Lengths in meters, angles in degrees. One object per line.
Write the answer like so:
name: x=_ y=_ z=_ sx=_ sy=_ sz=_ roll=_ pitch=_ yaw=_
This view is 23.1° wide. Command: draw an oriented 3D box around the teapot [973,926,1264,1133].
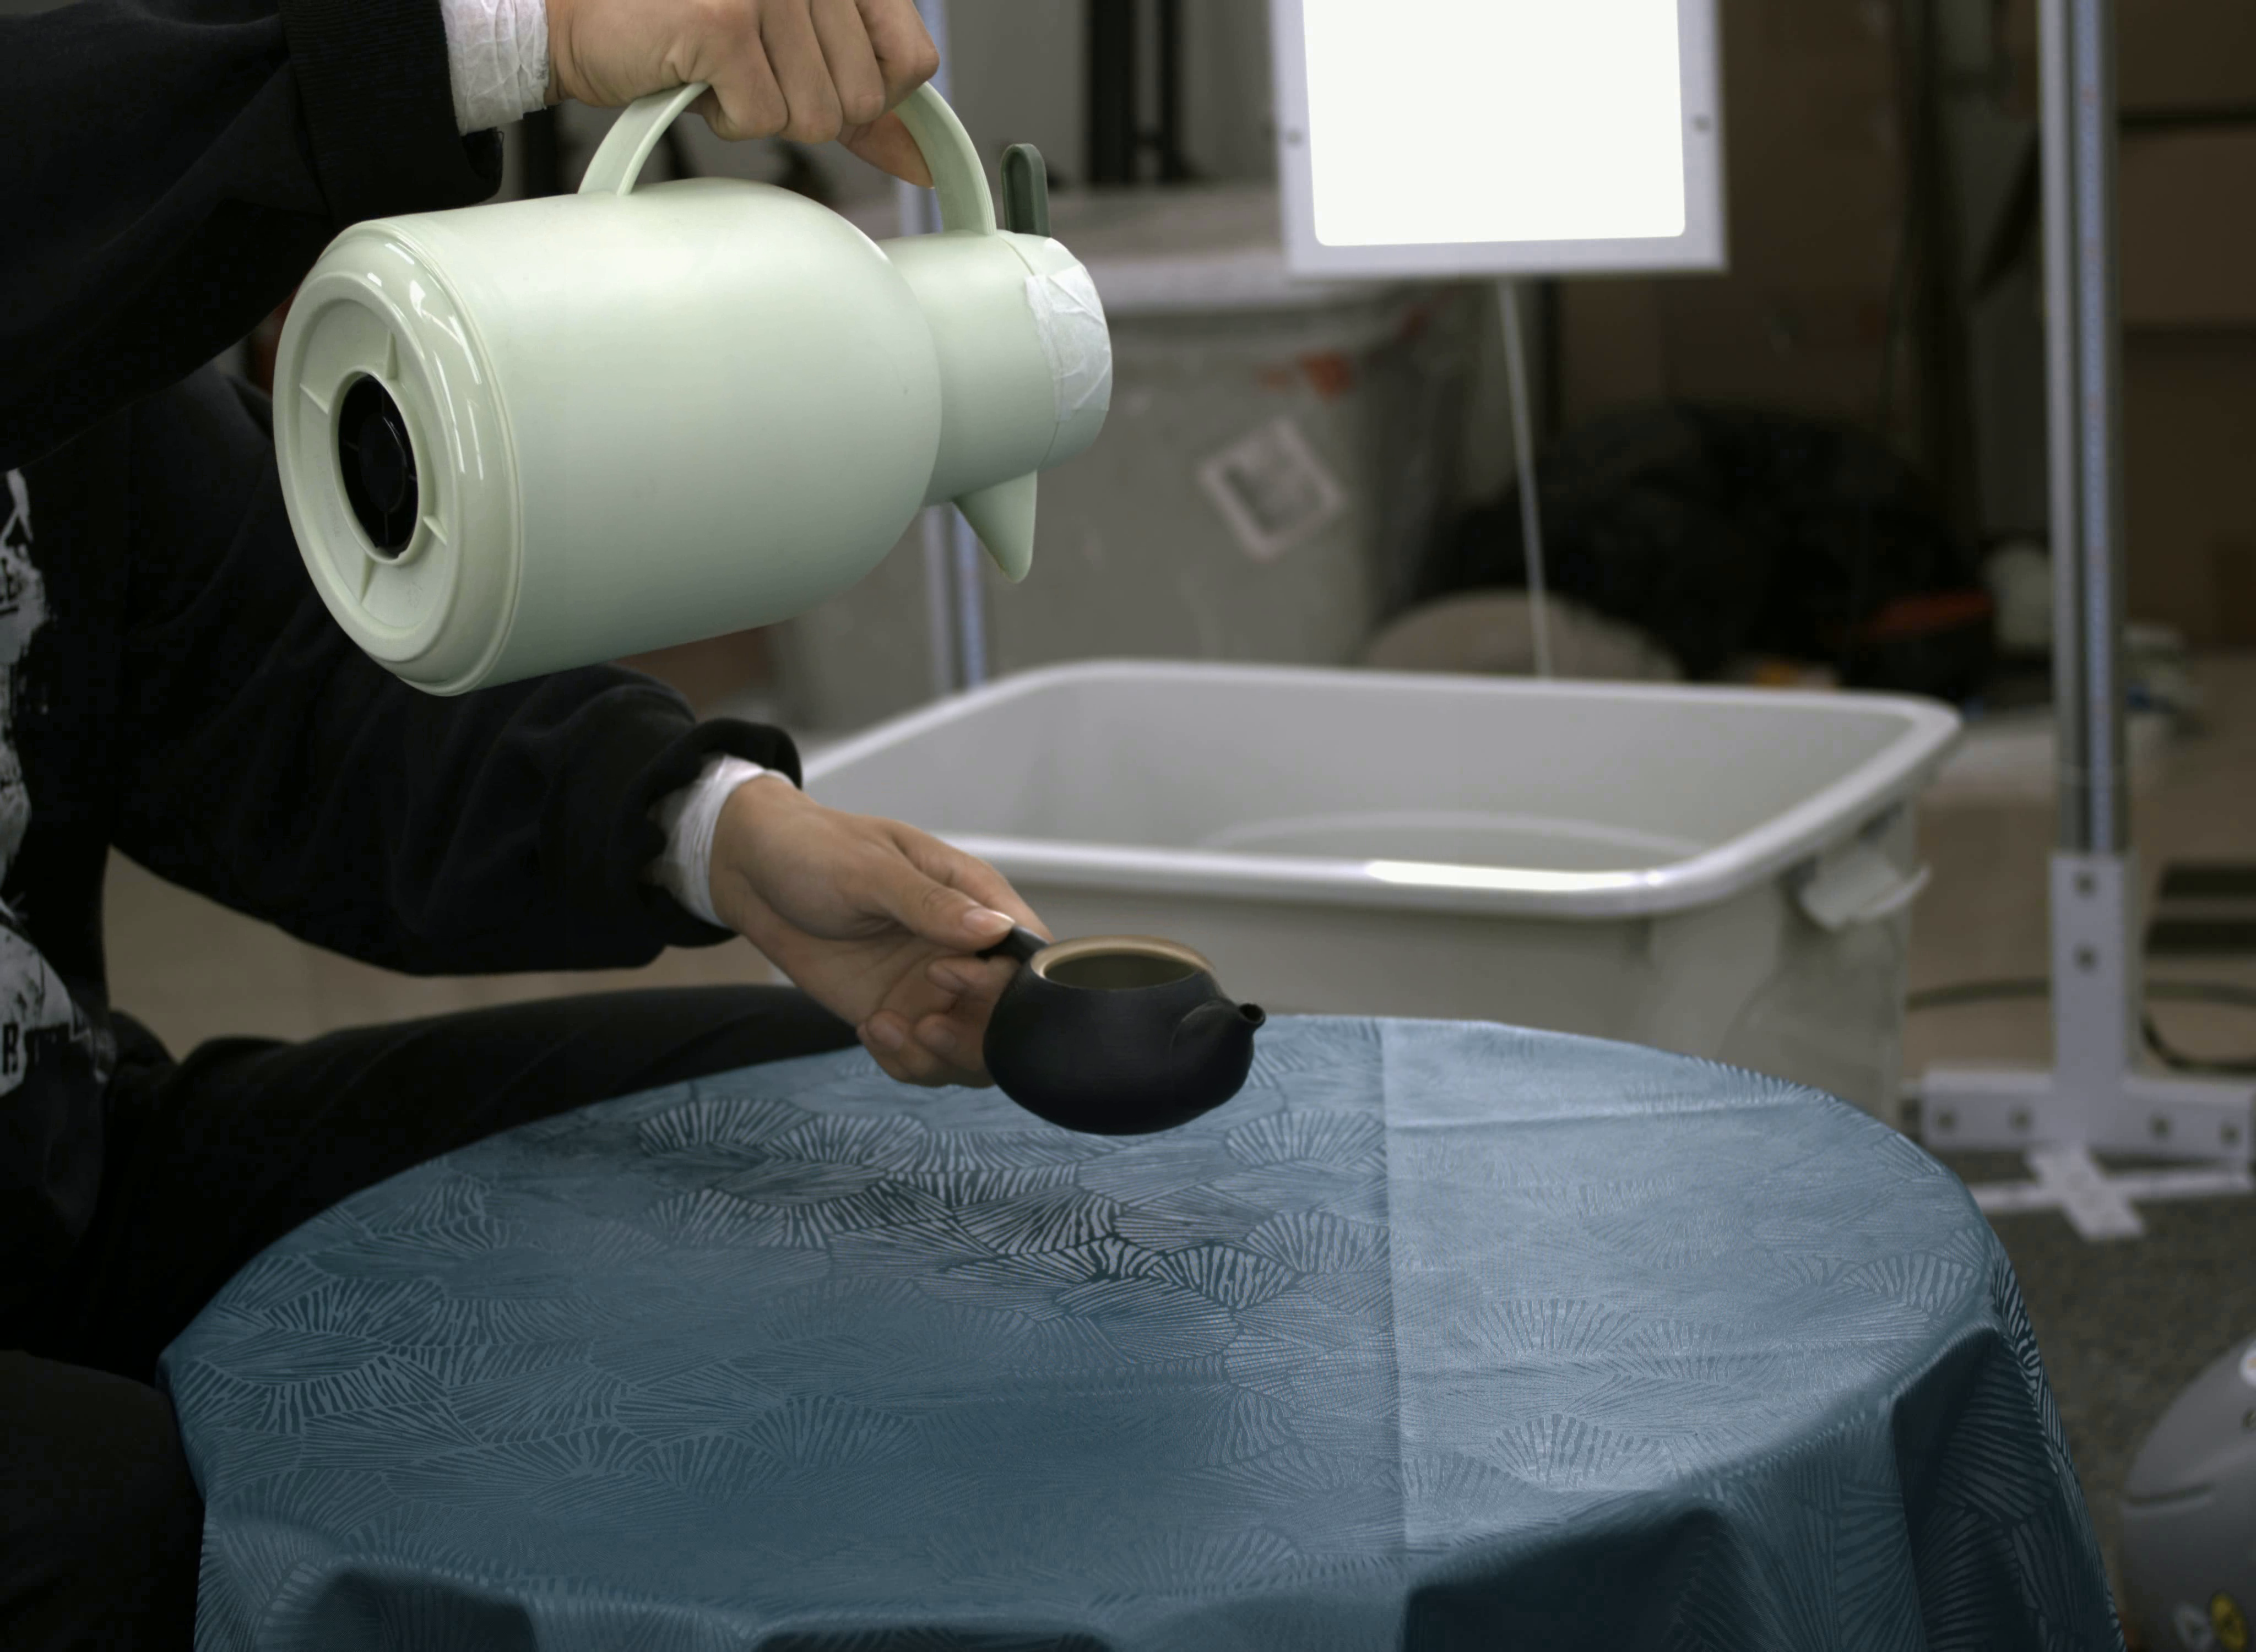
teapot: x=-0.004 y=0.069 z=1.837 sx=0.088 sy=0.053 sz=0.136 roll=-15 pitch=23 yaw=-42

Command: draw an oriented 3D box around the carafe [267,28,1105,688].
carafe: x=-0.132 y=-0.149 z=1.722 sx=0.251 sy=0.187 sz=0.147 roll=-16 pitch=14 yaw=-29
